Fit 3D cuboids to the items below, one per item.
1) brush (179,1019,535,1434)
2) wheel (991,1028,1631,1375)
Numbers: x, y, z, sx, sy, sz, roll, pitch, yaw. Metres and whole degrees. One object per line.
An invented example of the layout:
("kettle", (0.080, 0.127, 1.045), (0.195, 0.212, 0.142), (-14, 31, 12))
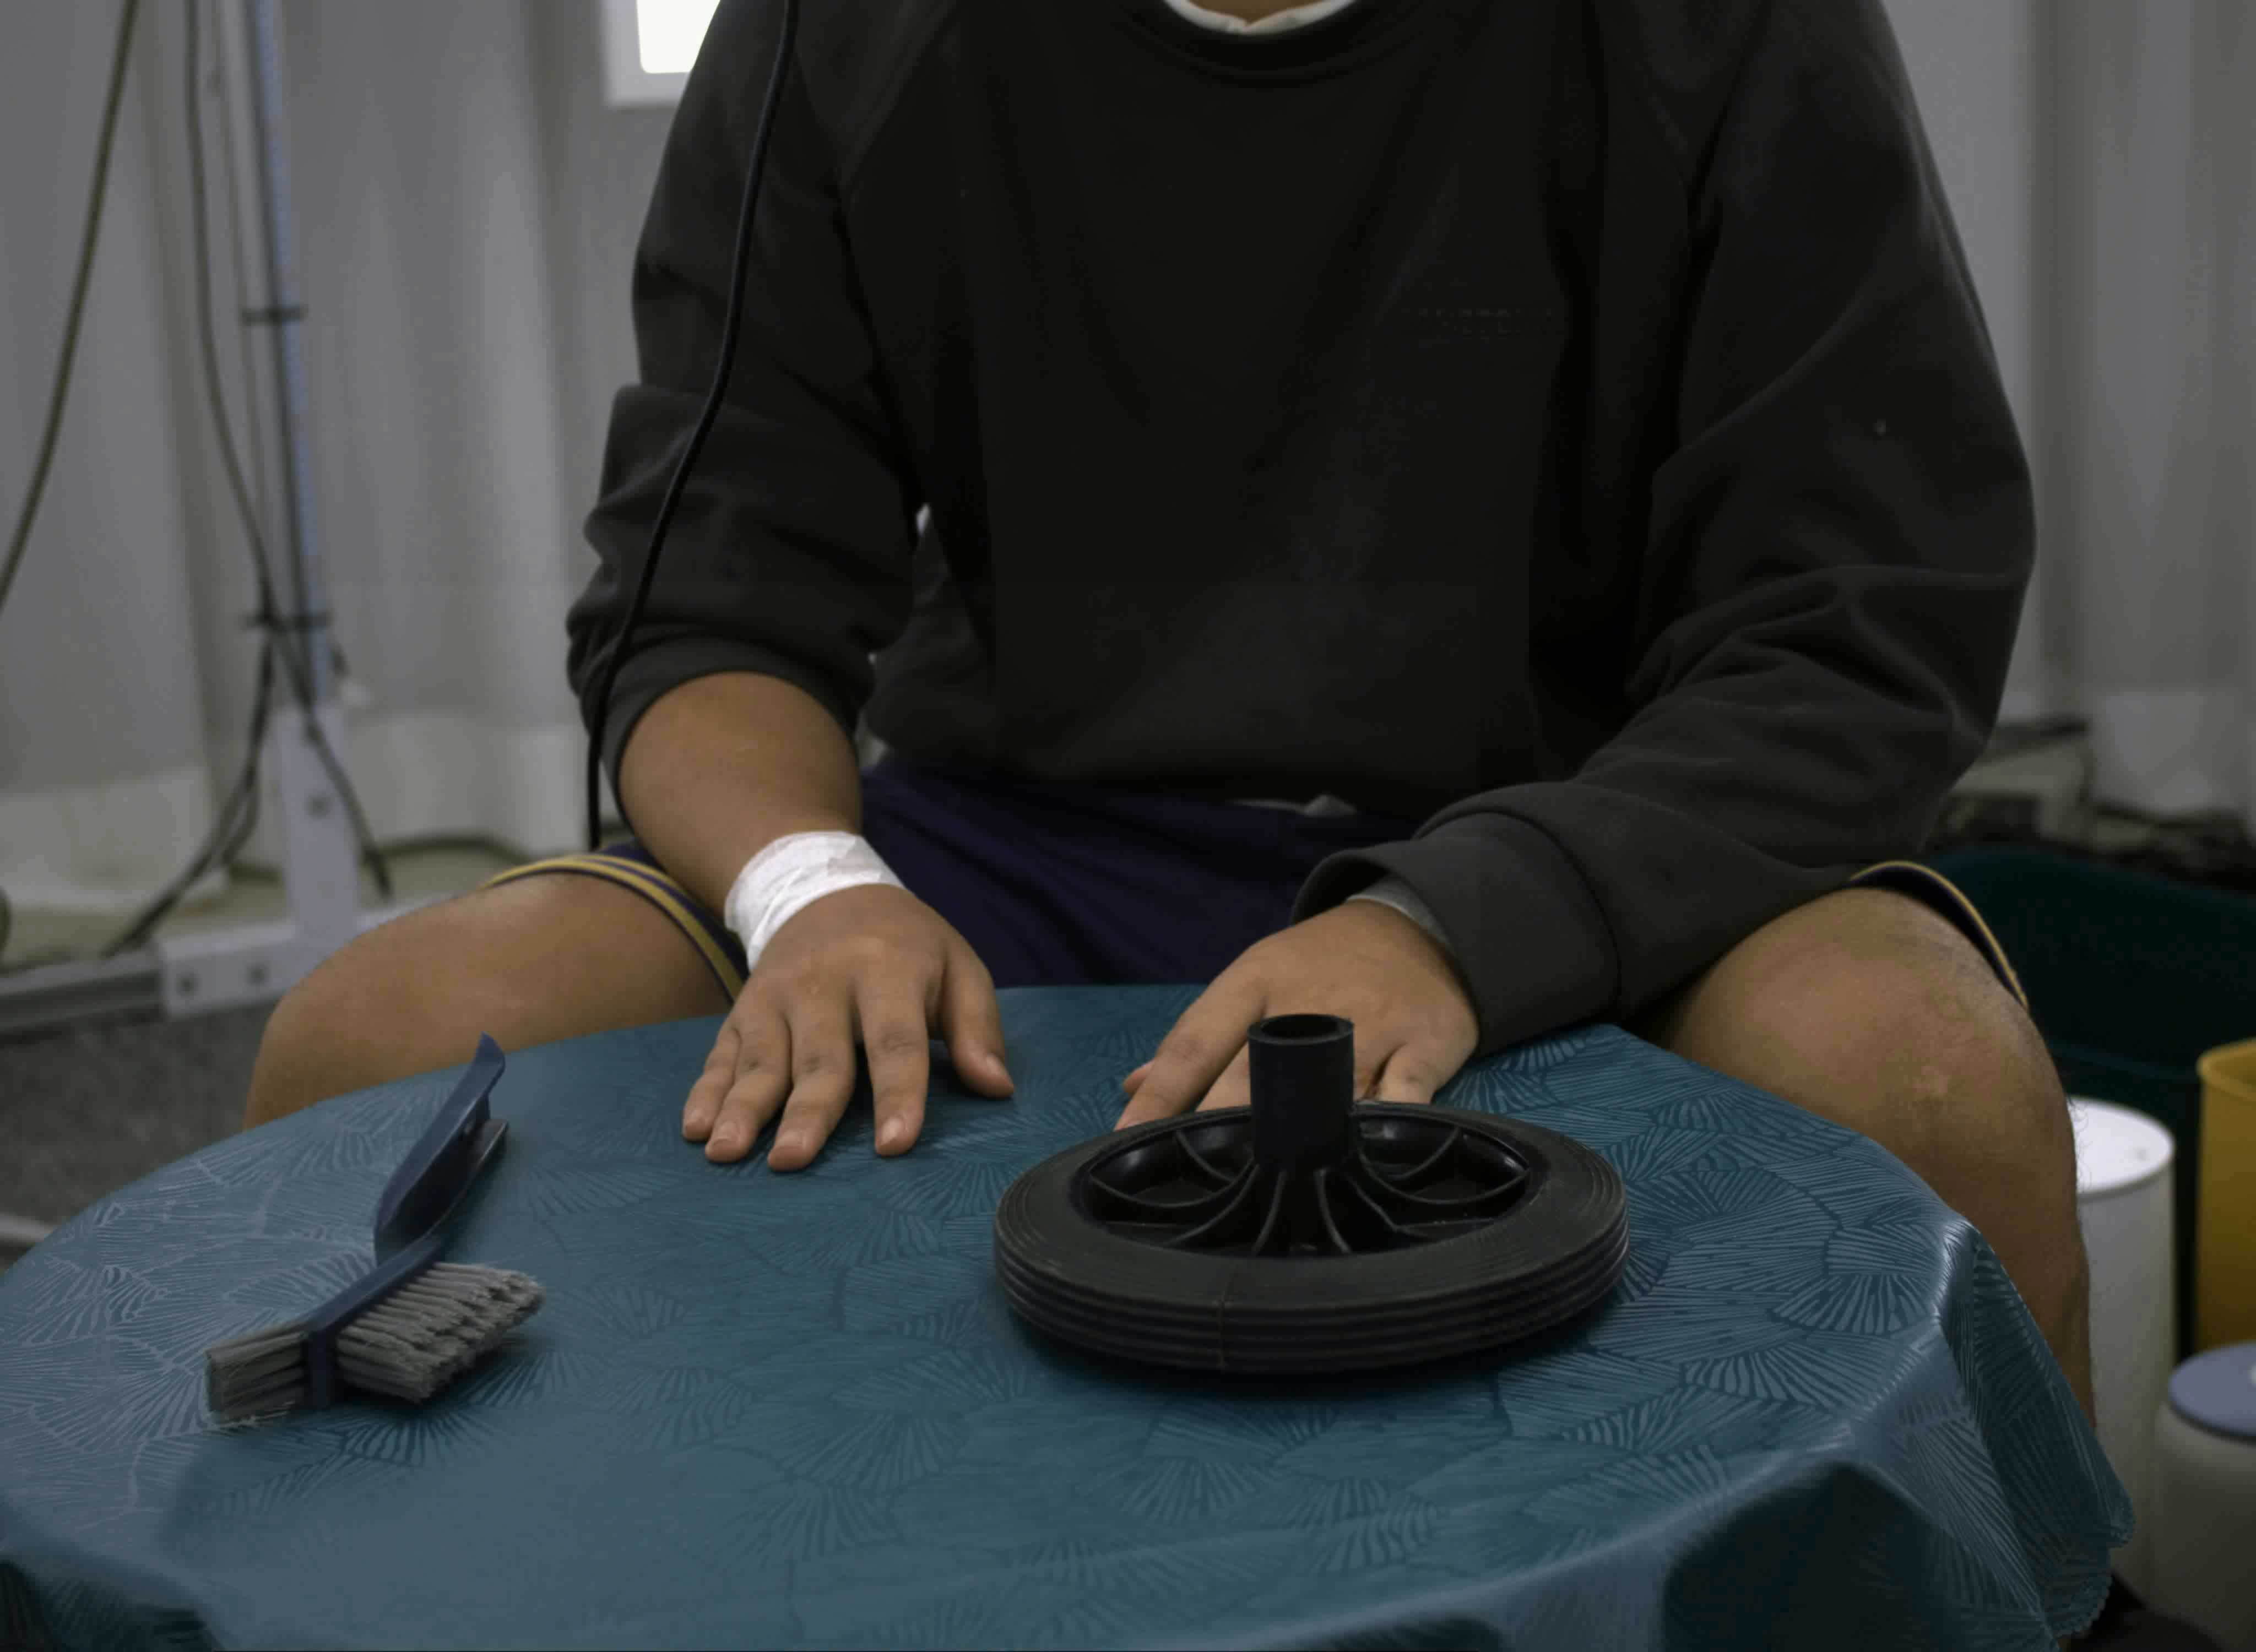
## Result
("brush", (-0.227, 0.120, 1.680), (0.095, 0.033, 0.275), (-4, 16, -1))
("wheel", (0.052, 0.101, 1.608), (0.187, 0.079, 0.191), (-14, 17, -35))
